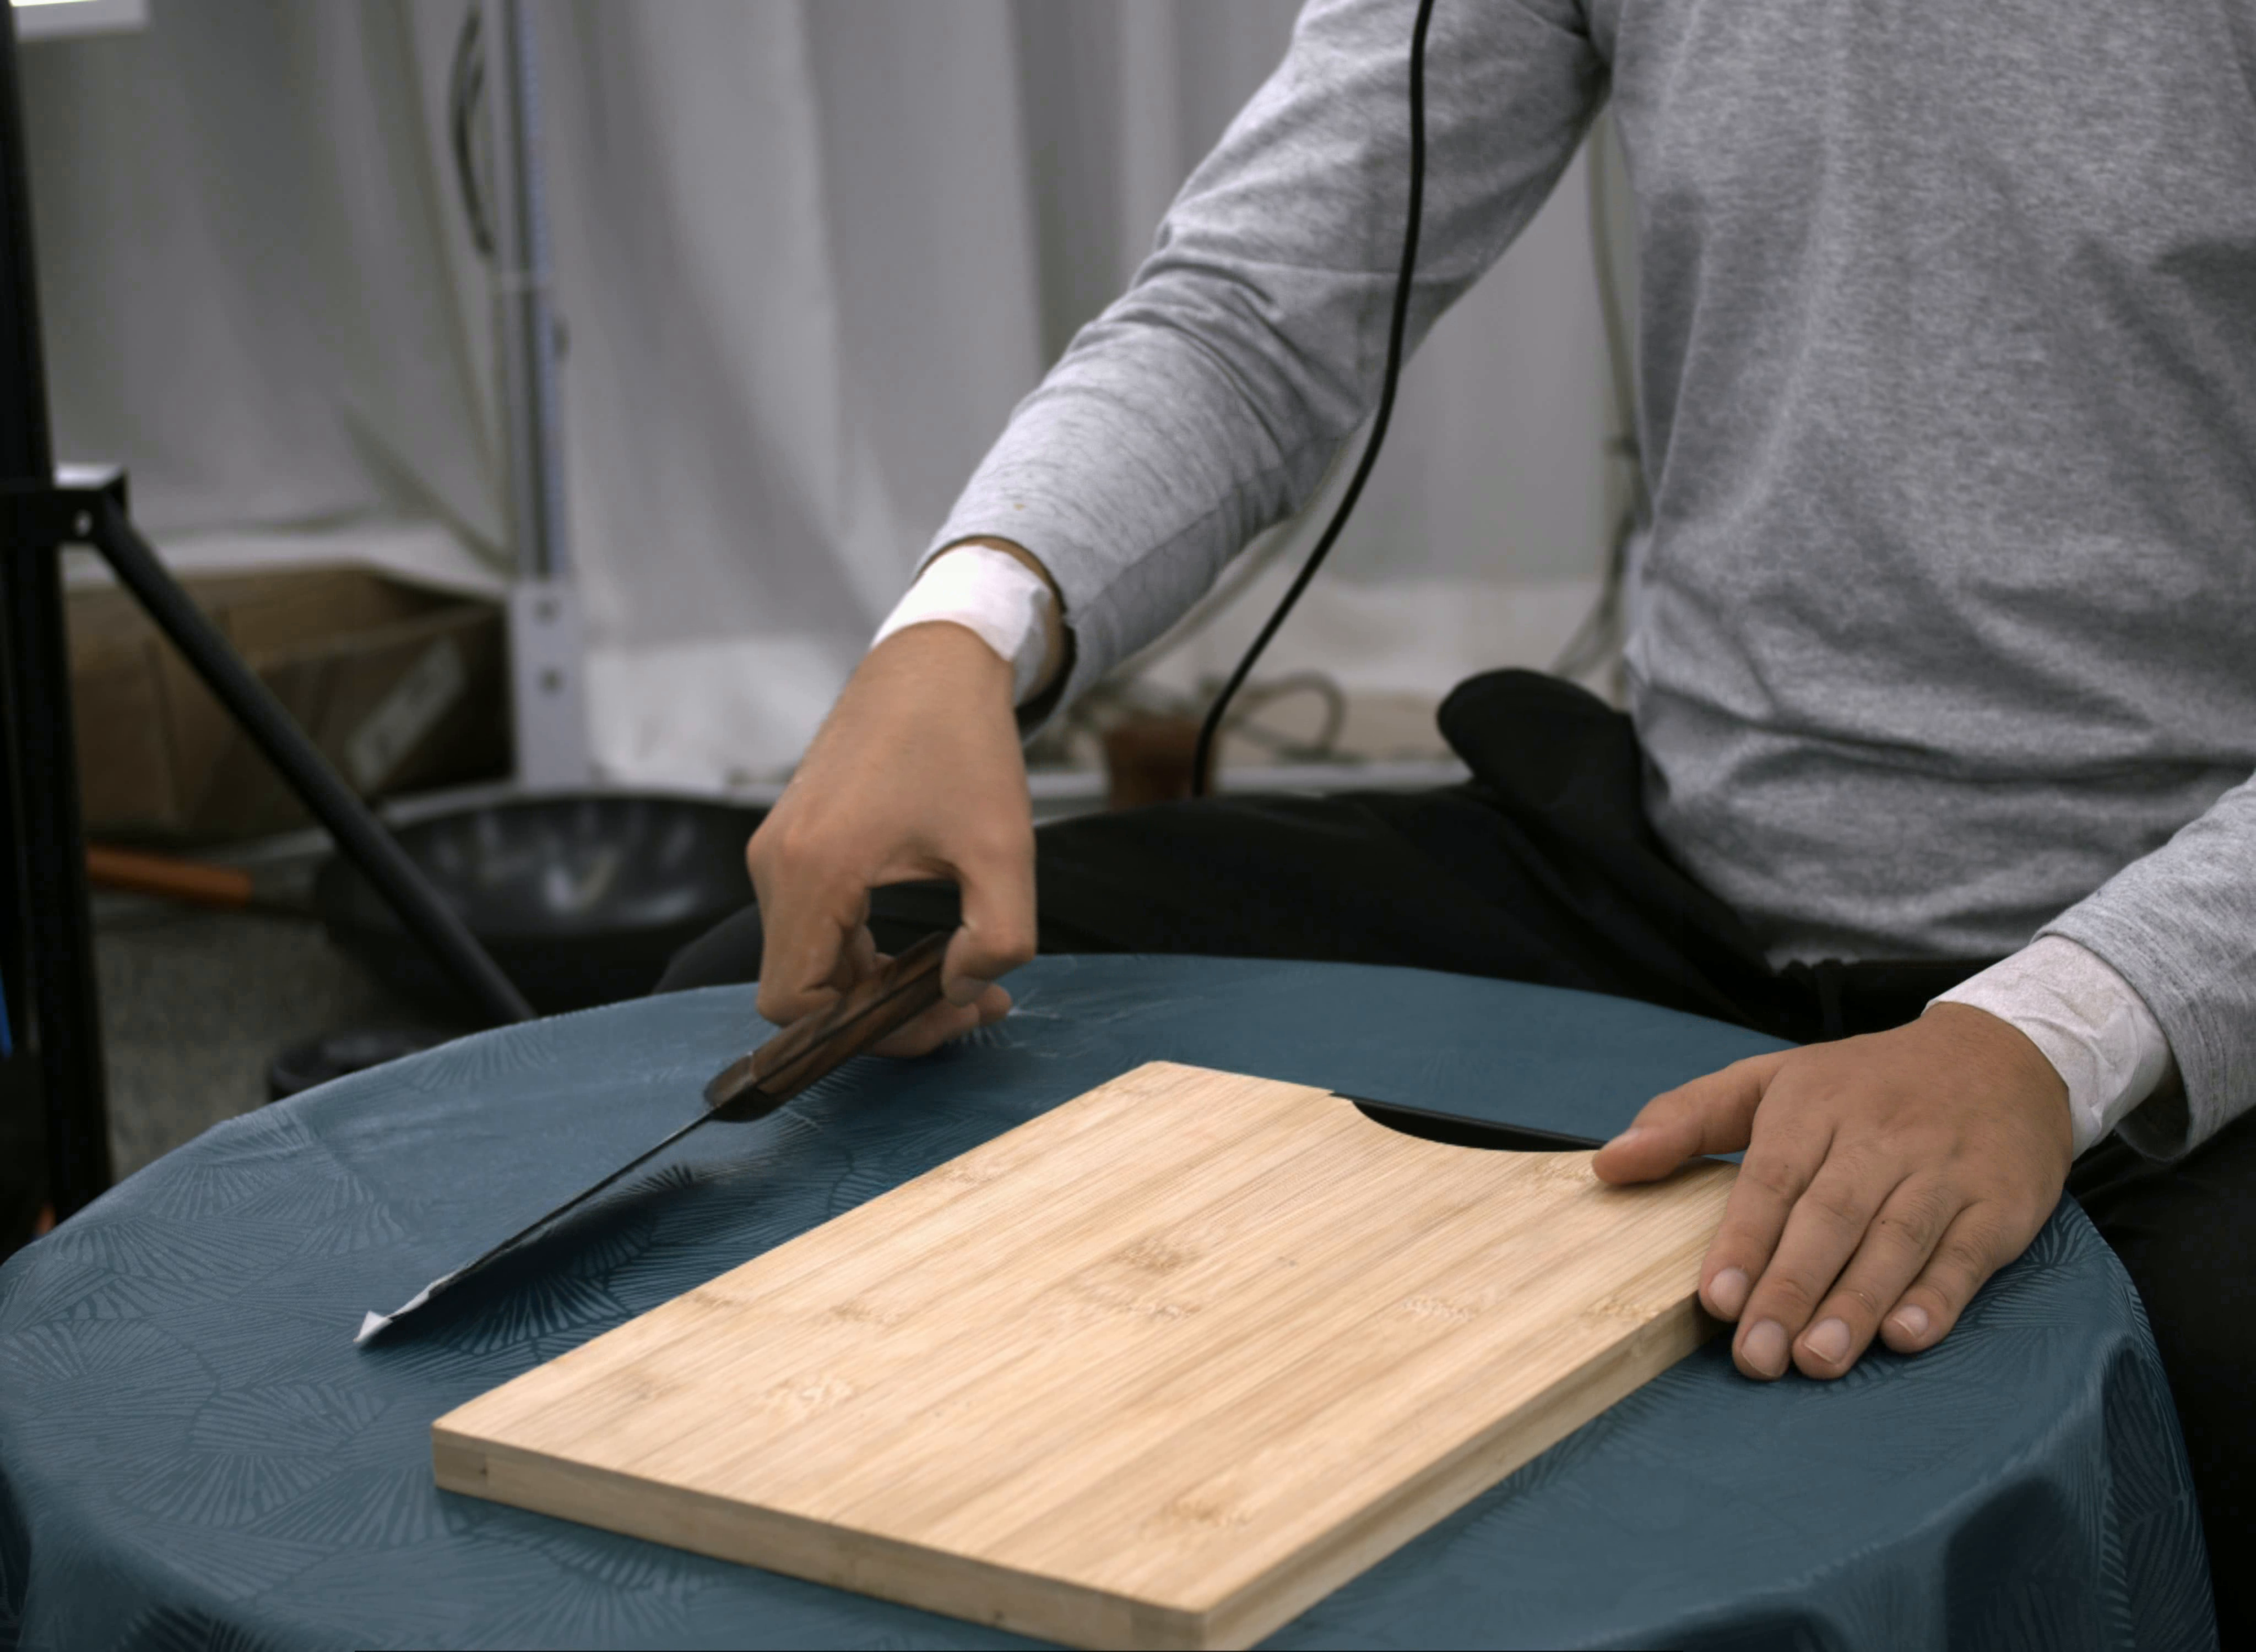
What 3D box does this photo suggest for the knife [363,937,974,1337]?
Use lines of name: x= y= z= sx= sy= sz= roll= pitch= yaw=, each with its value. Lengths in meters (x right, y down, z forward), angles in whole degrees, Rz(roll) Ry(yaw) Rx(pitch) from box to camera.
knife: x=-0.131 y=0.091 z=1.573 sx=0.051 sy=0.020 sz=0.284 roll=-37 pitch=-4 yaw=39

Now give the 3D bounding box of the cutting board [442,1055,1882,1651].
cutting board: x=0.017 y=0.136 z=1.433 sx=0.256 sy=0.023 sz=0.342 roll=9 pitch=19 yaw=33
